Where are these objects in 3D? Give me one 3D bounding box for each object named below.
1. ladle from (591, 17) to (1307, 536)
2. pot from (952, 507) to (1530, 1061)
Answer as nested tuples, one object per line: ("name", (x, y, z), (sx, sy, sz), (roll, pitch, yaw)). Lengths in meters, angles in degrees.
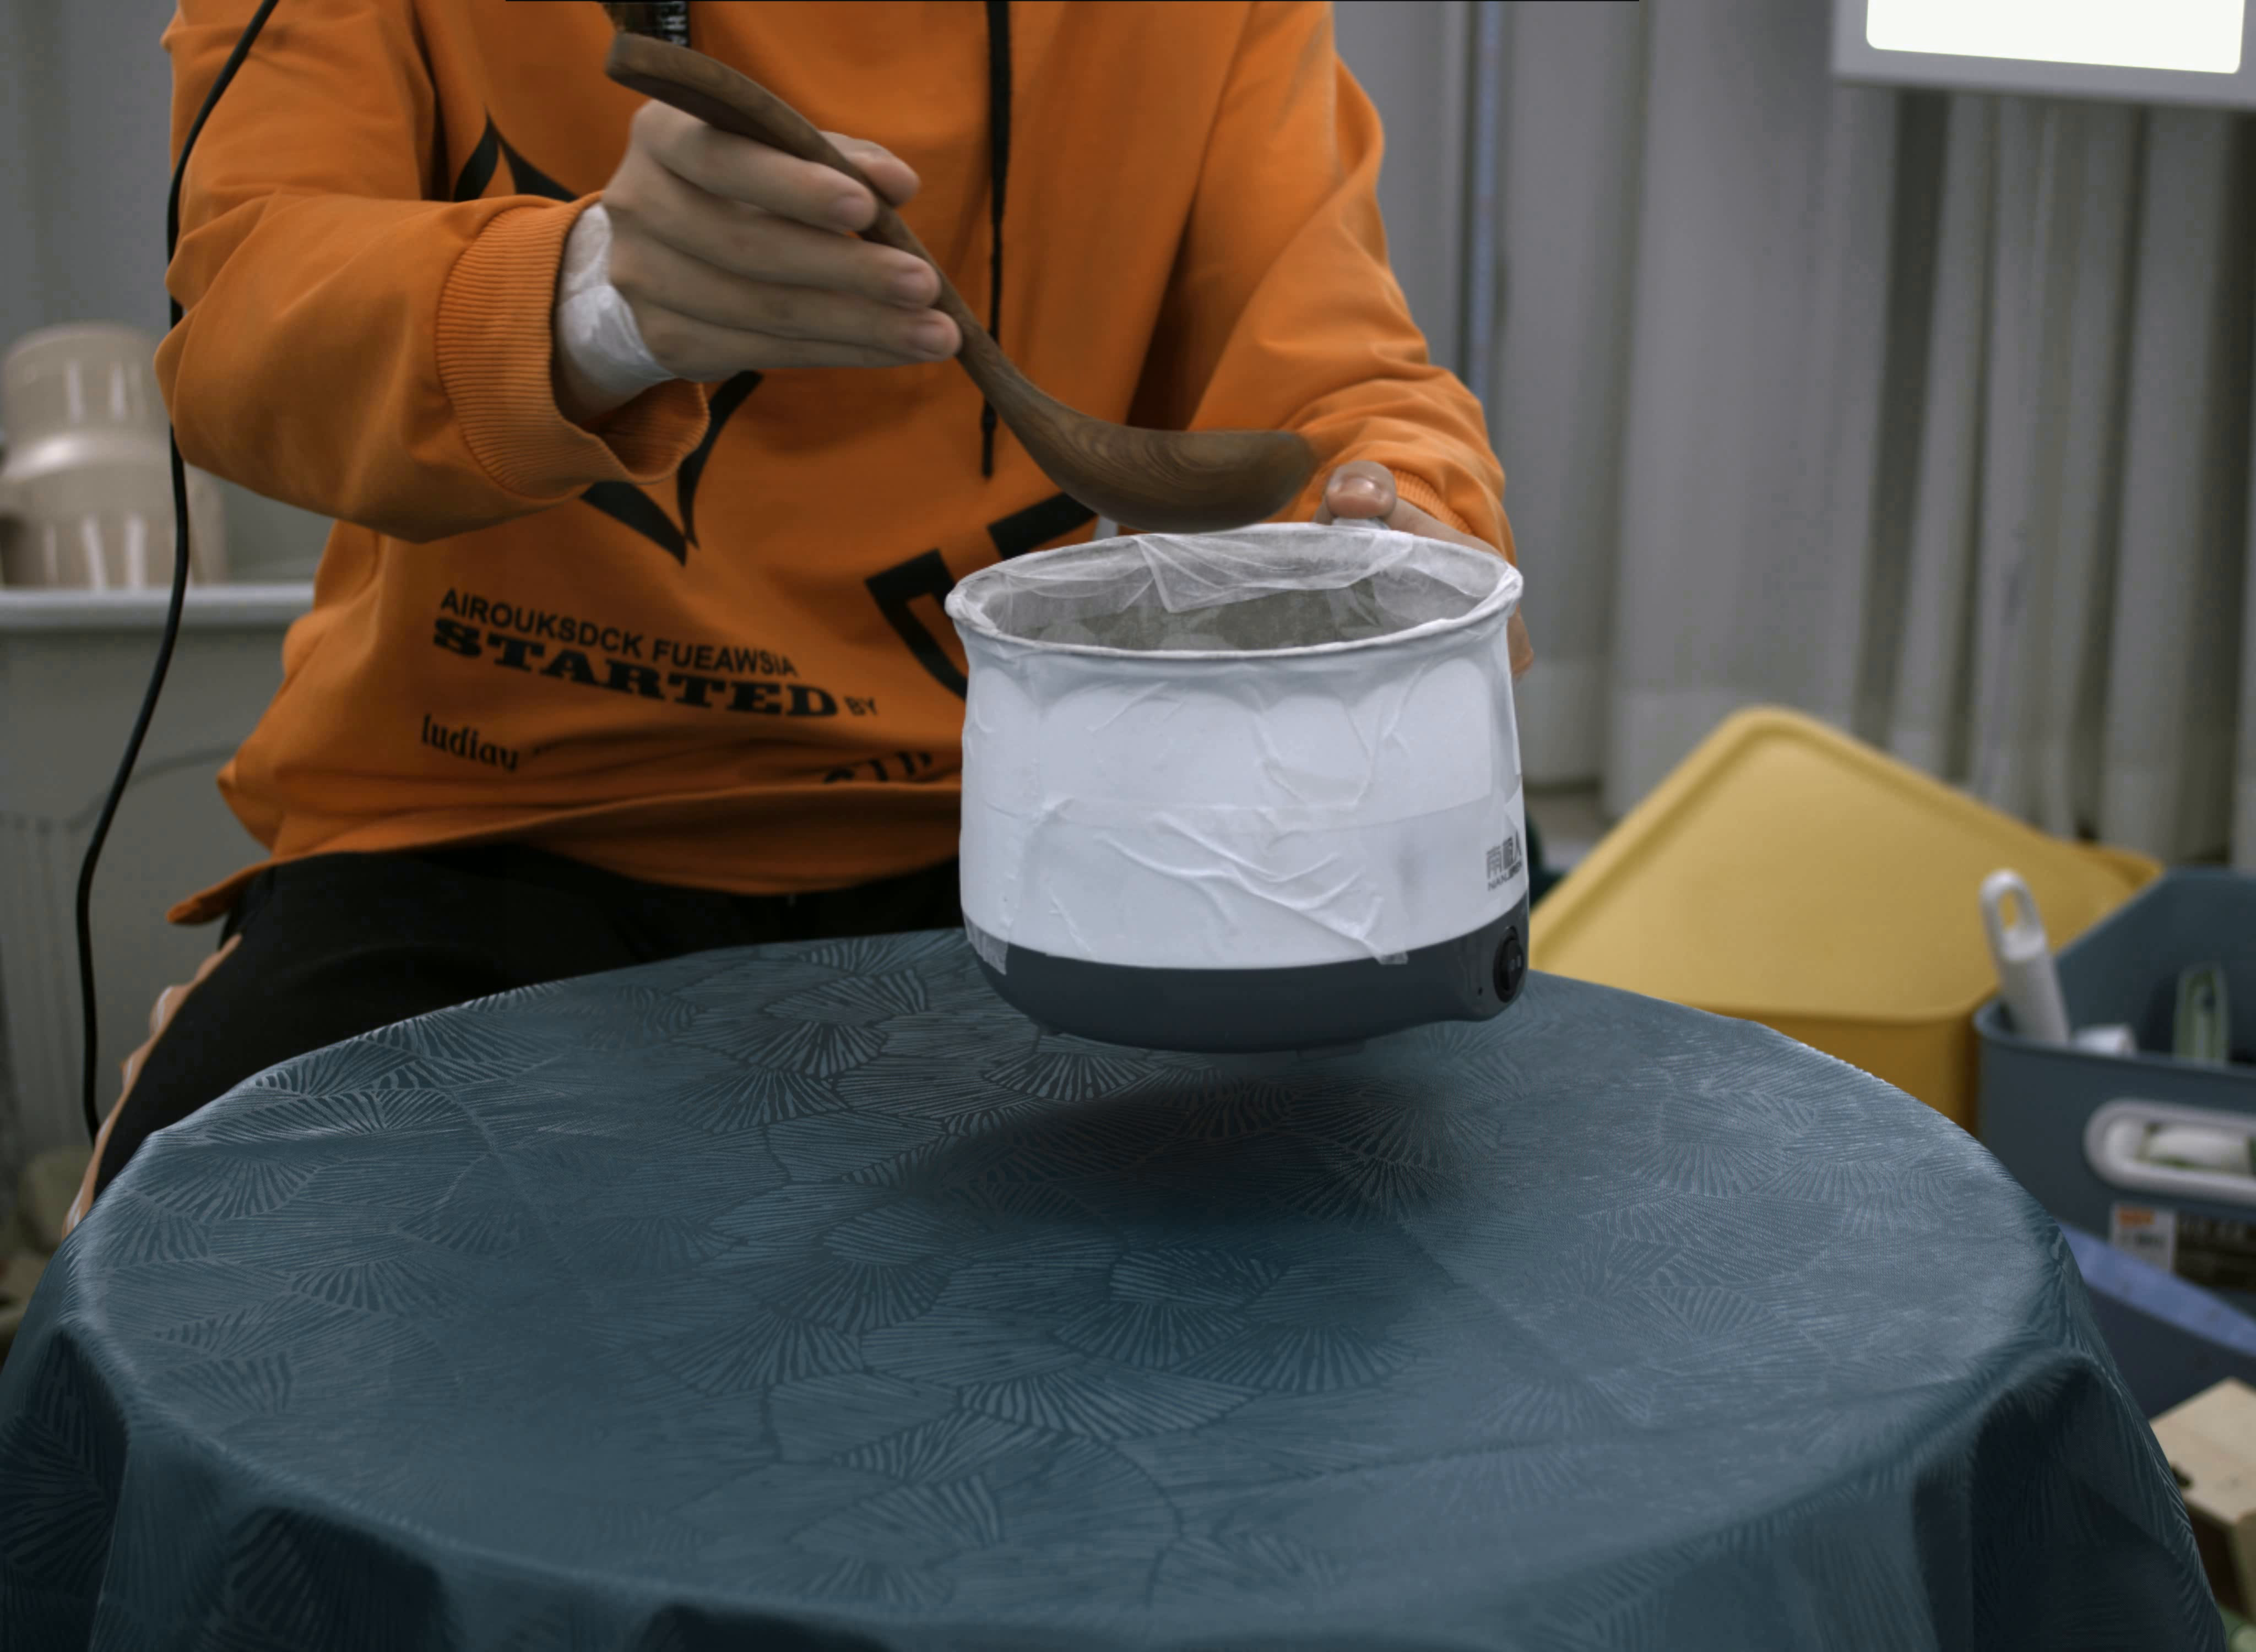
("ladle", (-0.051, -0.172, 1.585), (0.076, 0.262, 0.065), (-15, 40, 54))
("pot", (0.047, -0.019, 1.651), (0.177, 0.138, 0.234), (5, 17, 22))
